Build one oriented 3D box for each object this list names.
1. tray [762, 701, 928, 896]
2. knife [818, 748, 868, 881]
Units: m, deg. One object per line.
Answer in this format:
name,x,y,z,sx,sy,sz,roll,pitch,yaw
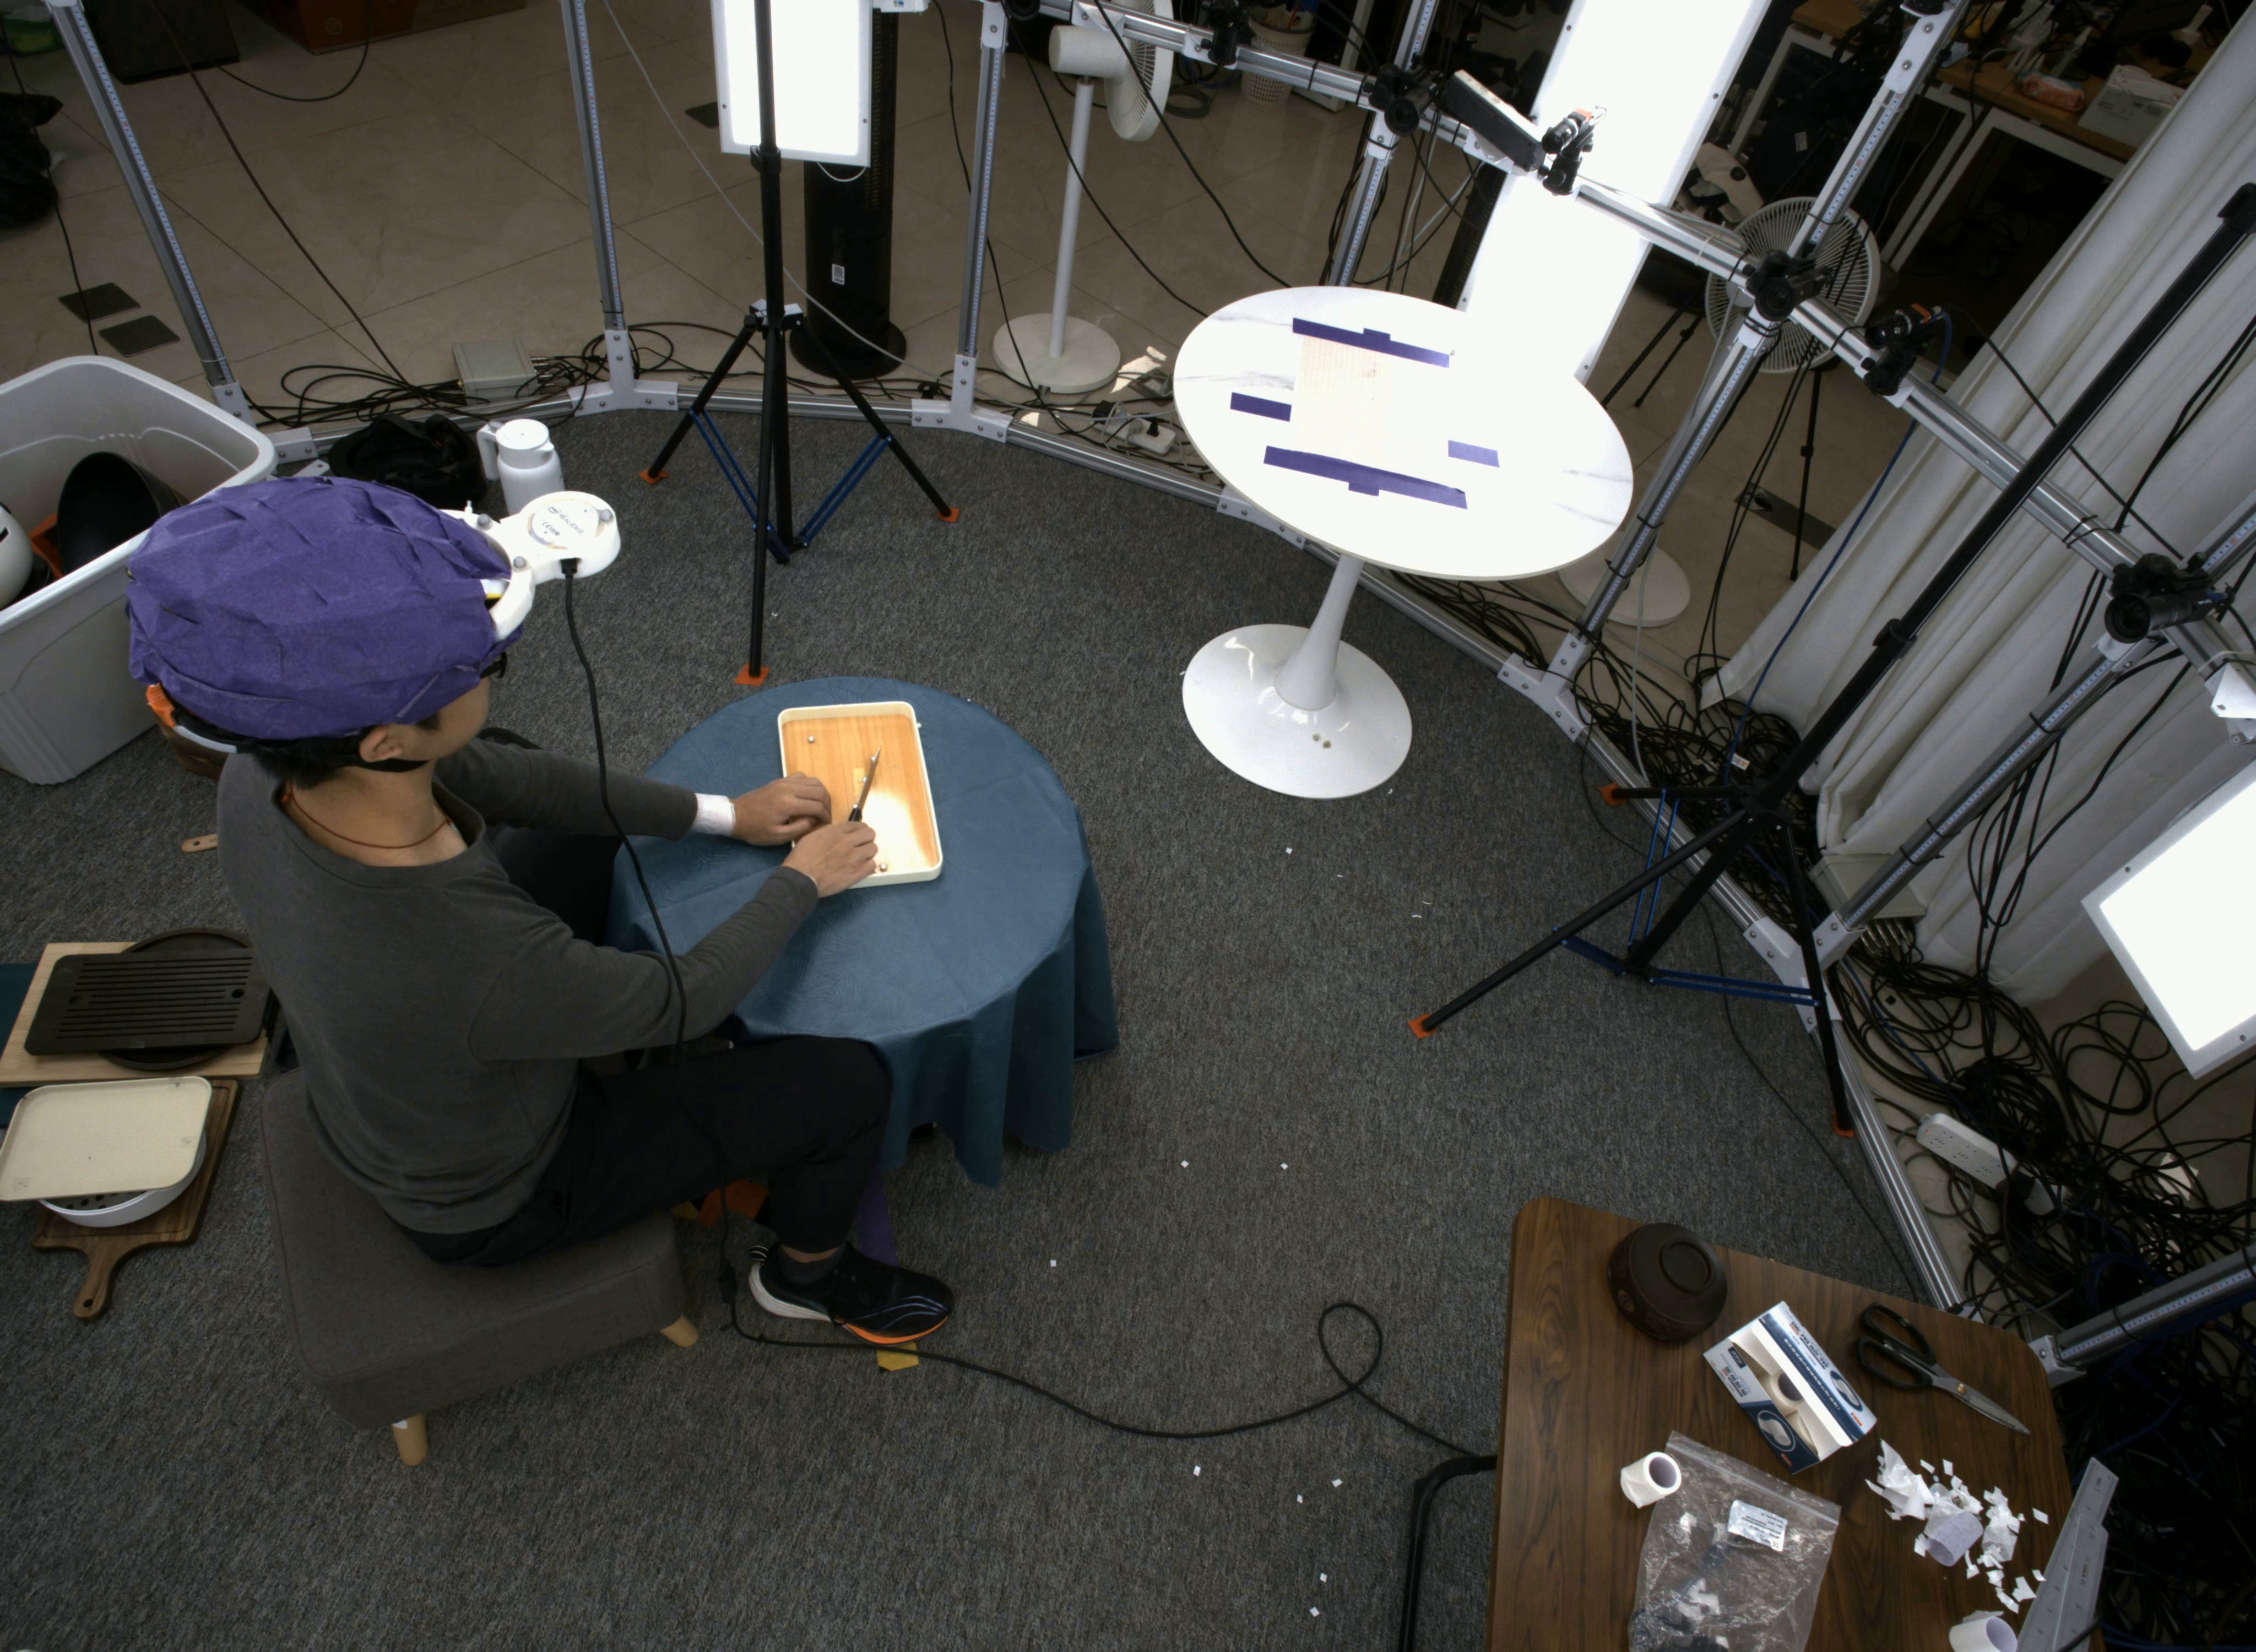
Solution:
tray,-0.387,-0.044,1.761,0.192,0.028,0.293,-6,56,-17
knife,-0.378,-0.024,1.737,0.016,0.025,0.234,5,49,4
